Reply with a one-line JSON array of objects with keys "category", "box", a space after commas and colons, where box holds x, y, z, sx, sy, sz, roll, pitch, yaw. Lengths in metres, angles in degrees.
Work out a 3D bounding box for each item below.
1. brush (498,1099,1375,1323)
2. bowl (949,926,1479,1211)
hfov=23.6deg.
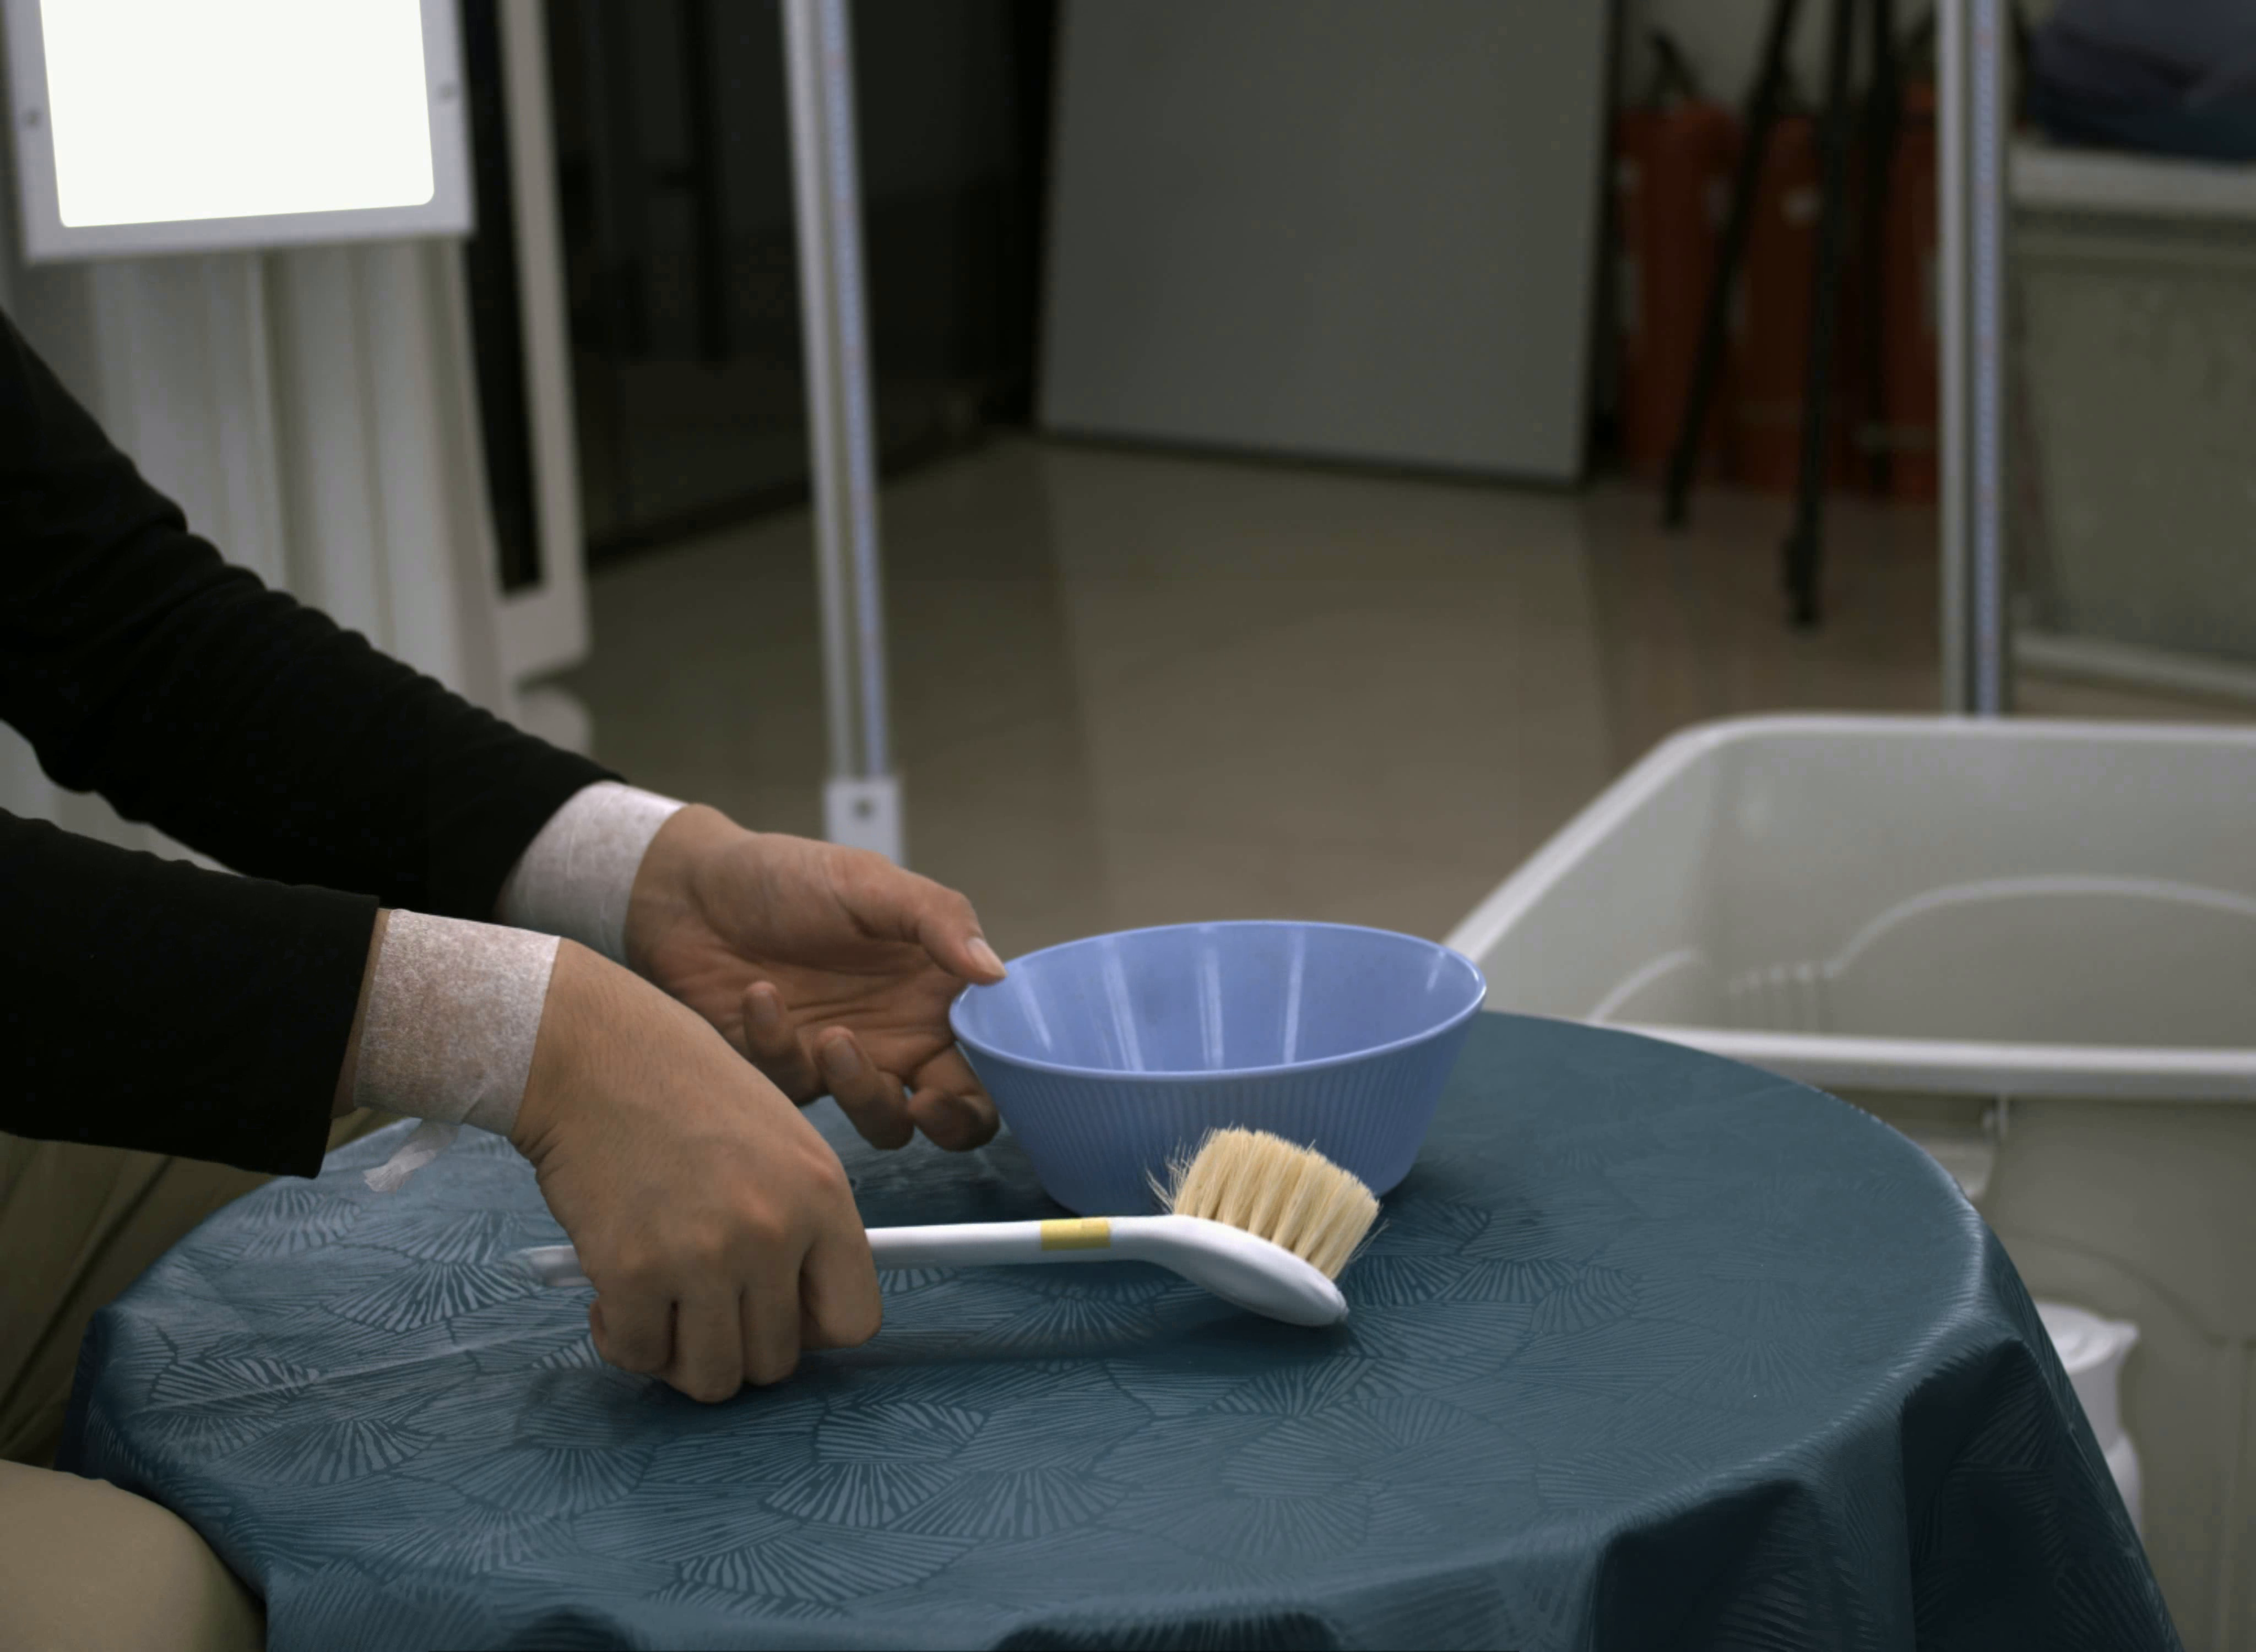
[{"category": "brush", "box": [-0.057, 0.116, 1.626, 0.264, 0.057, 0.068, 0, -28, 6]}, {"category": "bowl", "box": [0.030, 0.085, 1.755, 0.174, 0.071, 0.176, -5, 13, 0]}]
